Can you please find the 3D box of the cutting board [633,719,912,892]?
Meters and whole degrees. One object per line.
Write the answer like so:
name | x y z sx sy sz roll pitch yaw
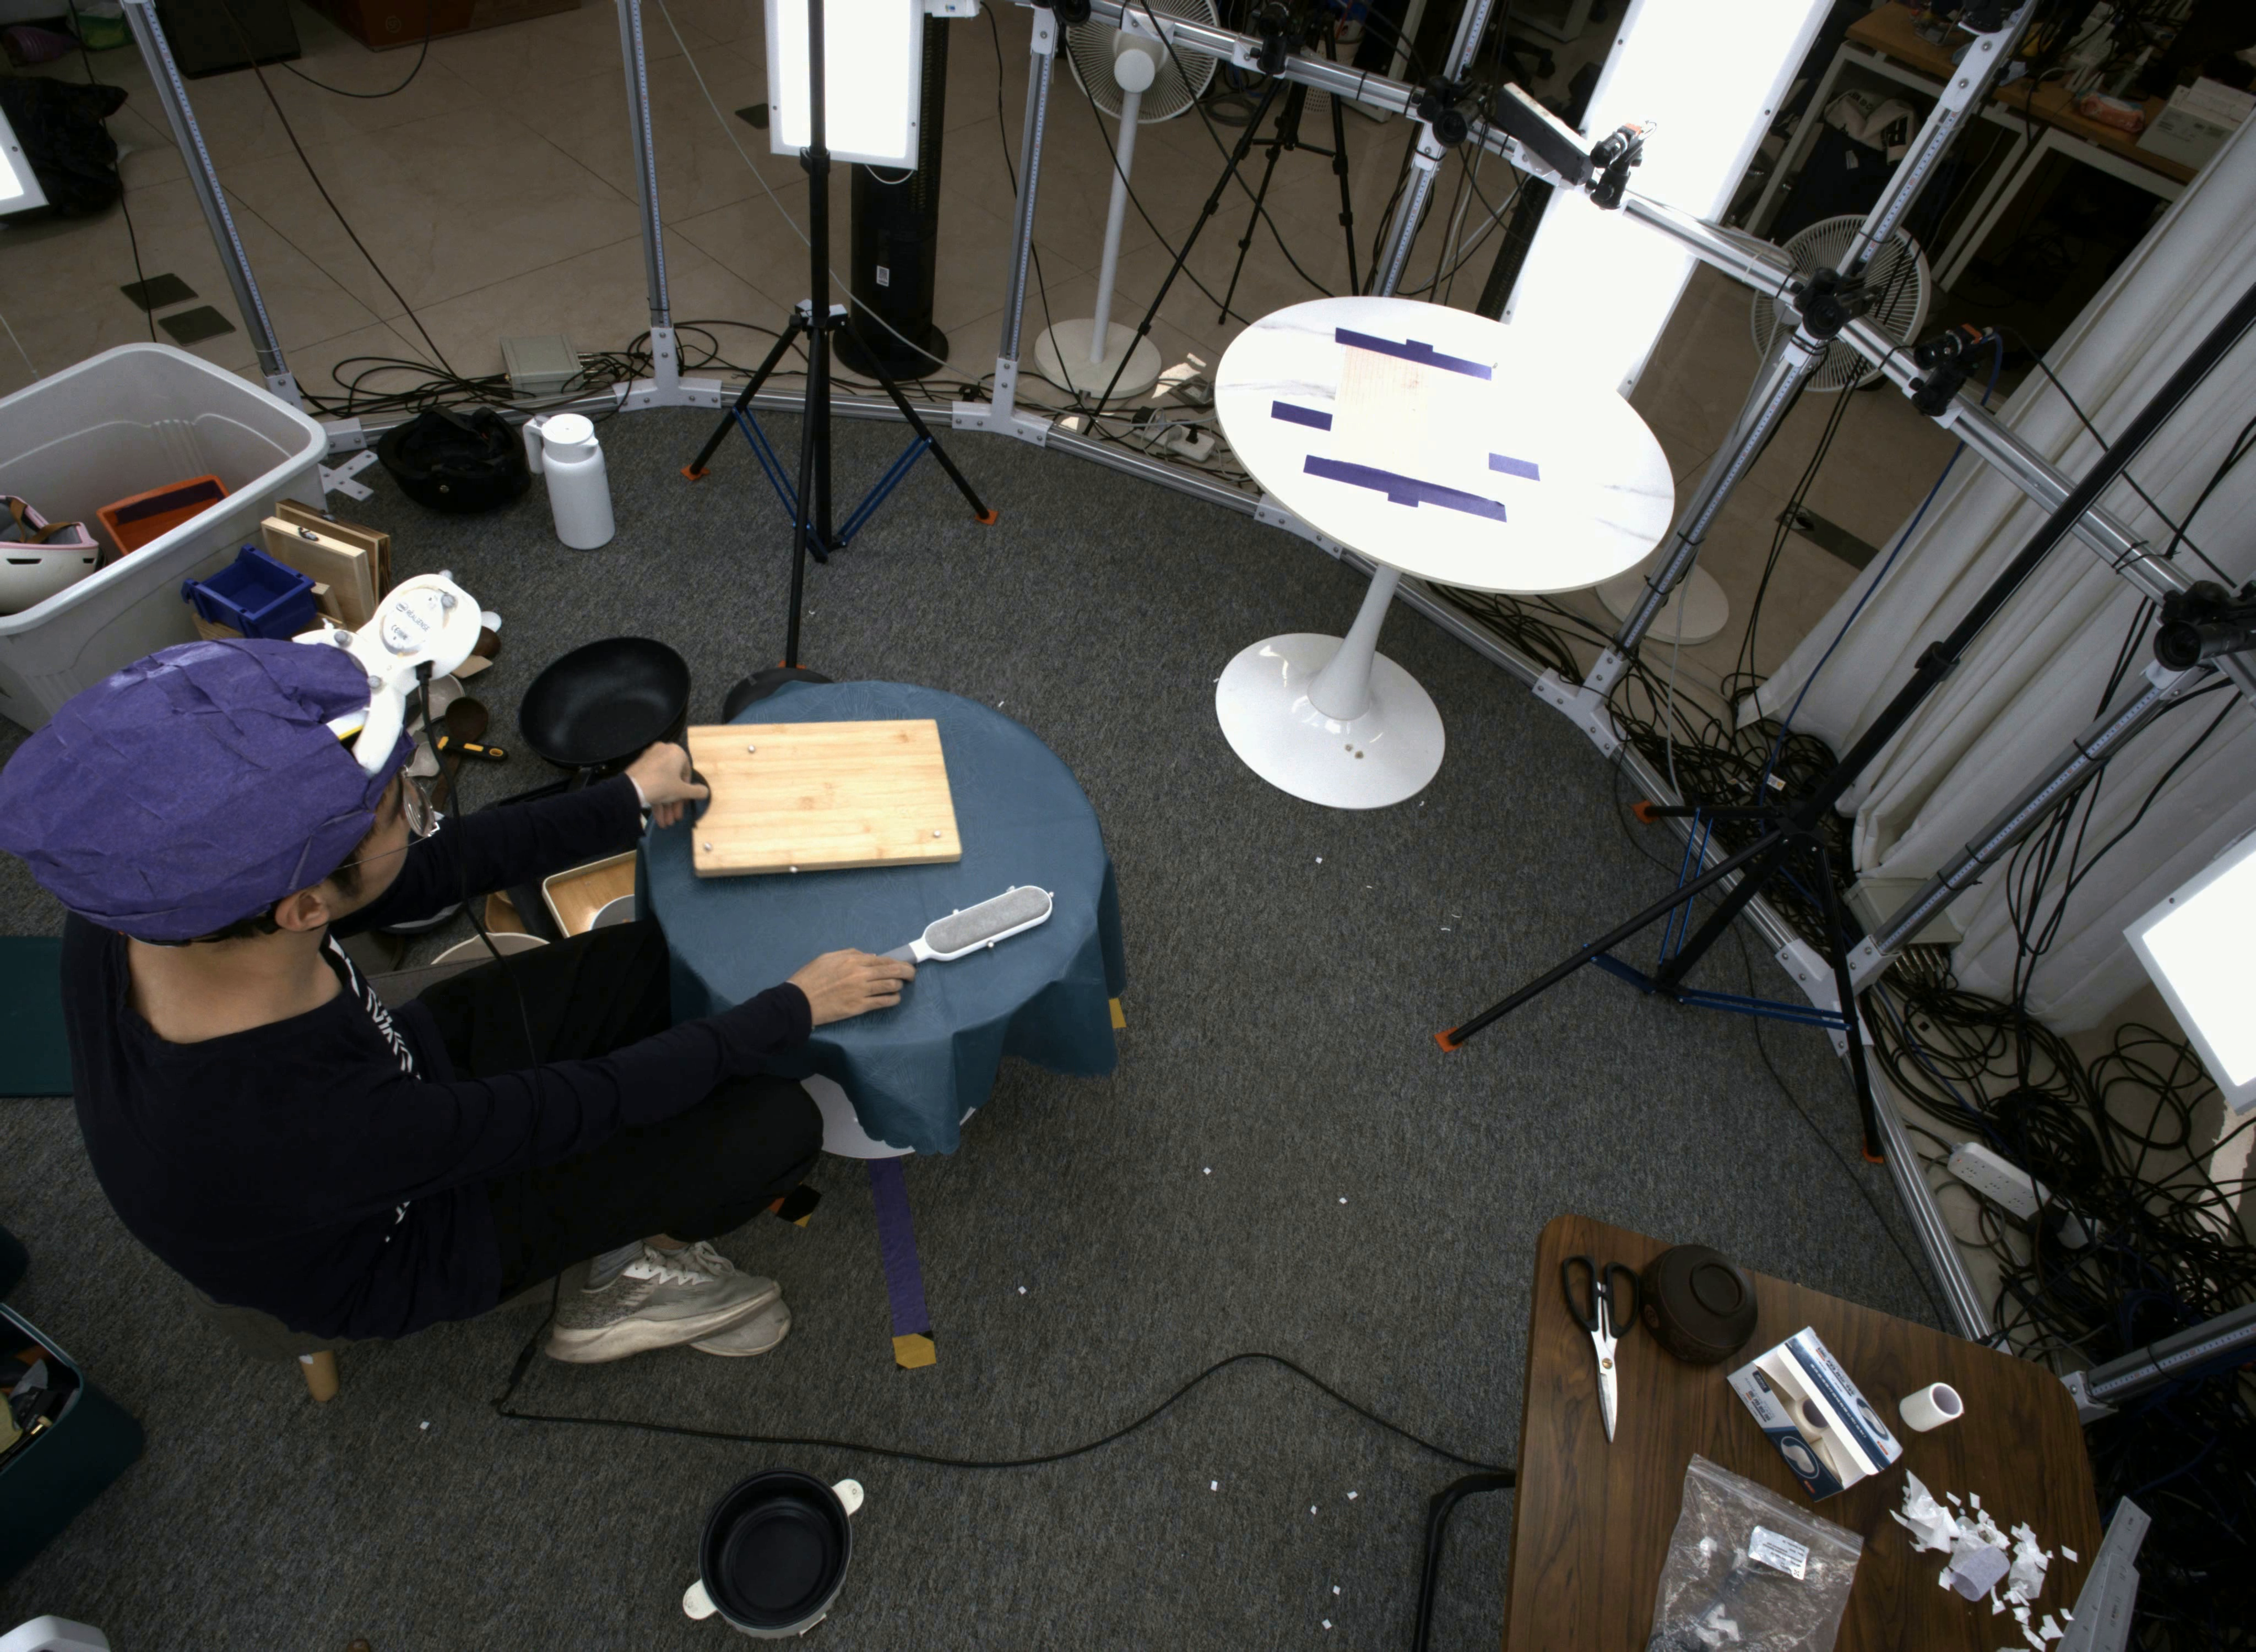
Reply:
cutting board | -0.475 -0.035 1.727 0.351 0.024 0.244 -7 56 -22

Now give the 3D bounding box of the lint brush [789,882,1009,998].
lint brush | -0.286 0.142 1.647 0.310 0.021 0.059 -24 66 -28
